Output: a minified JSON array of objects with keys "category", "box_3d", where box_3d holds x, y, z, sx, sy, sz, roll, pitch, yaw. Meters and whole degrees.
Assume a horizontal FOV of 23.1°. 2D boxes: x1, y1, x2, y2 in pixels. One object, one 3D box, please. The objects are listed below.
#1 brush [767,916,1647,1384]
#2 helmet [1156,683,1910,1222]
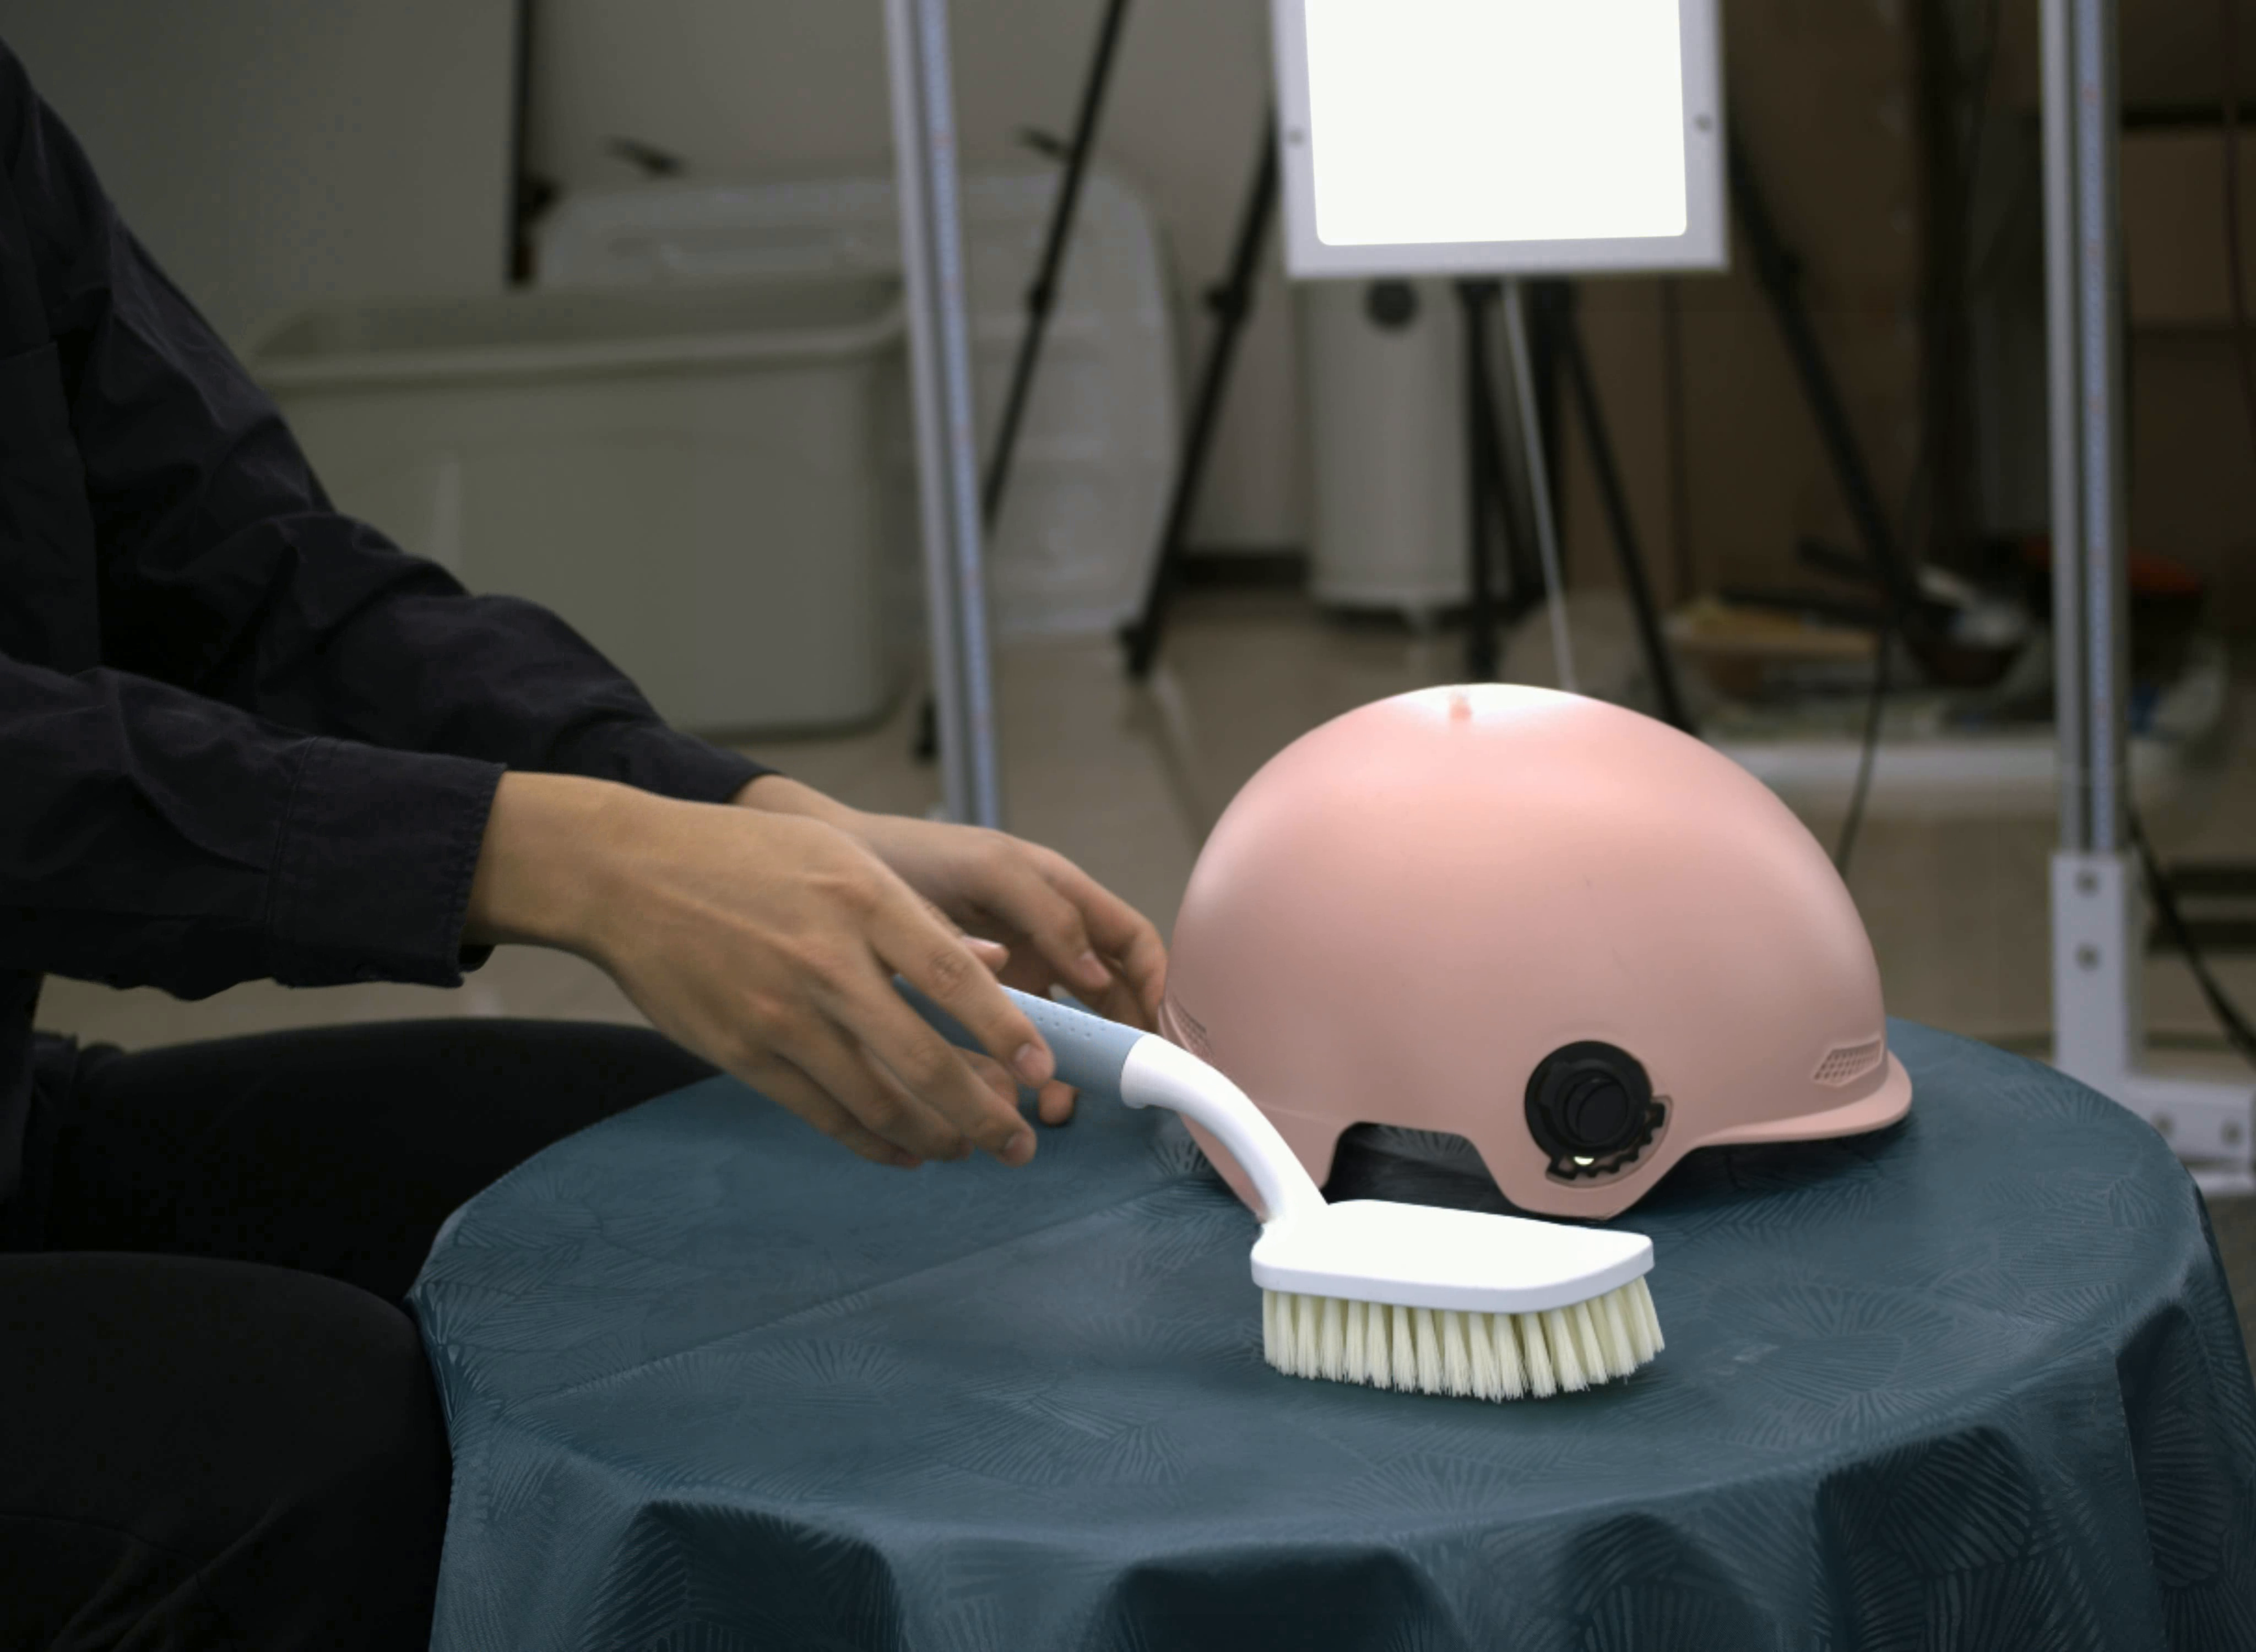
[{"category":"brush","box_3d":[0.019,0.116,1.752,0.331,0.084,0.082,18,-13,30]},{"category":"helmet","box_3d":[0.143,0.032,1.915,0.267,0.159,0.232,2,14,8]}]
